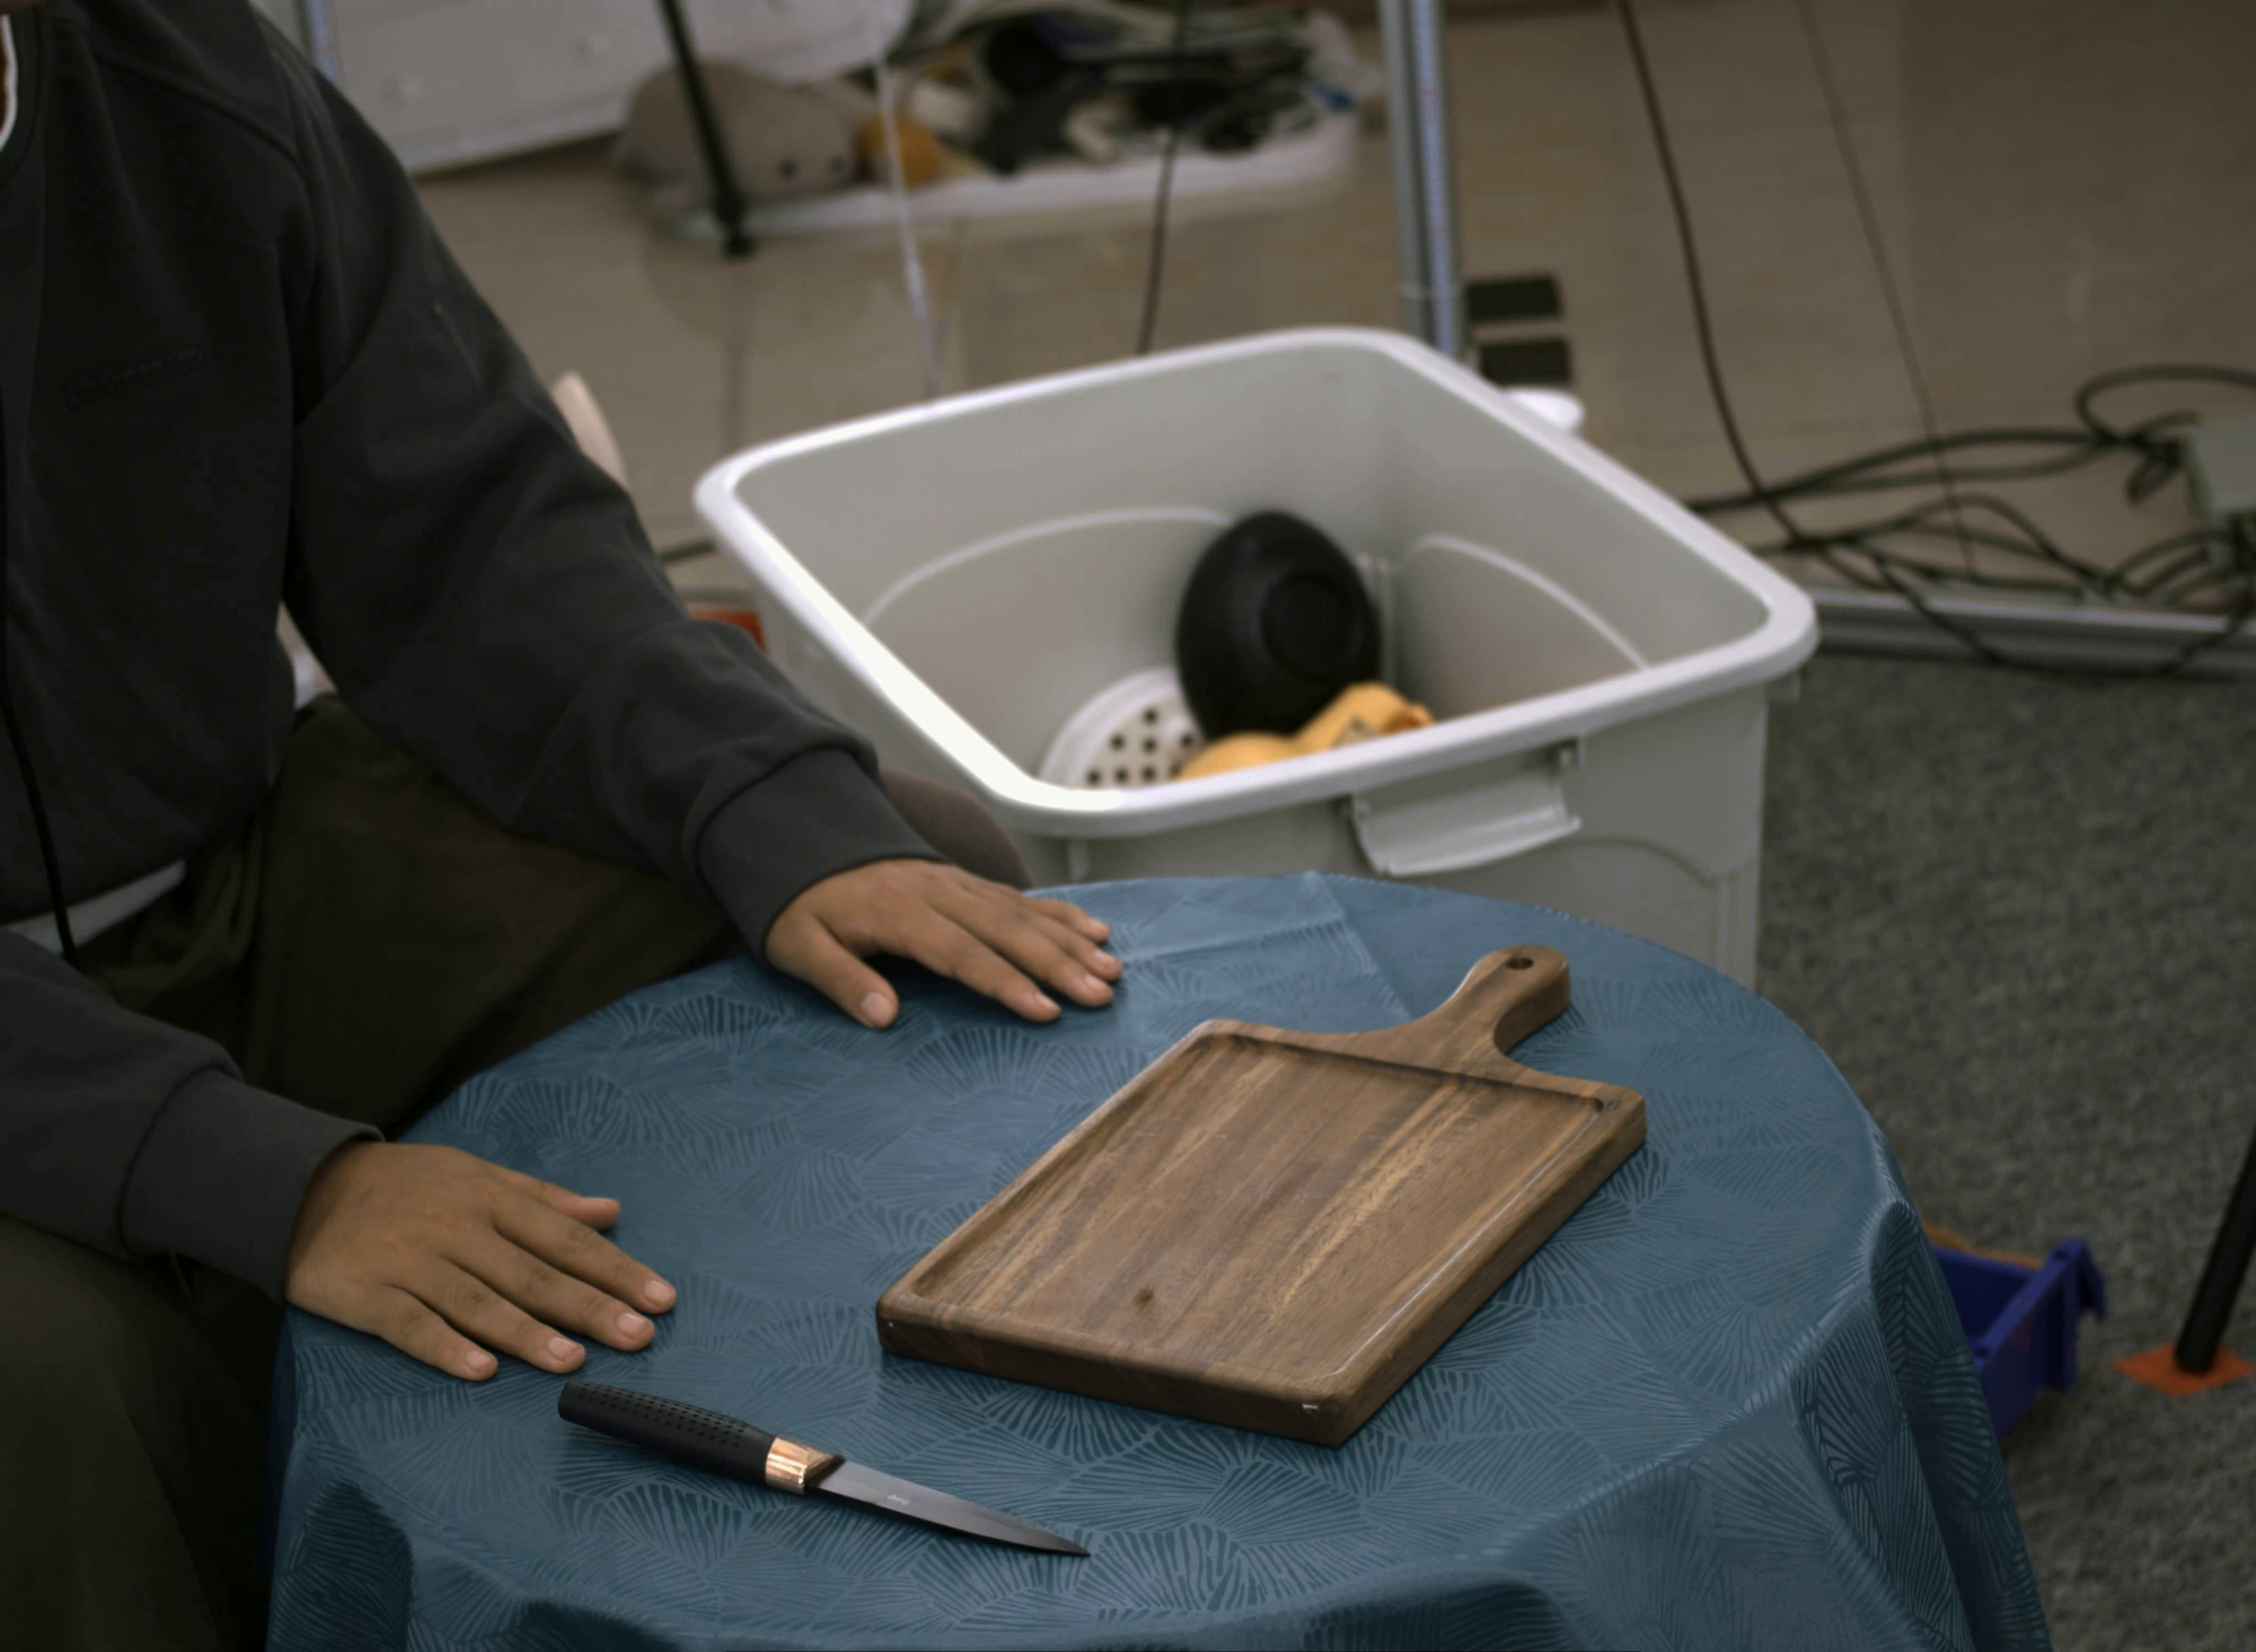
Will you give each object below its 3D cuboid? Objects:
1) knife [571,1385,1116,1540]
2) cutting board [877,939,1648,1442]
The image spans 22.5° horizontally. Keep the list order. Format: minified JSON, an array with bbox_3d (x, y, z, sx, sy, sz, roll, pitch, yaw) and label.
[{"bbox_3d":[-0.101,0.224,1.976,0.224,0.017,0.026,11,25,32],"label":"knife"},{"bbox_3d":[0.077,0.125,2.135,0.200,0.023,0.348,9,29,30],"label":"cutting board"}]
